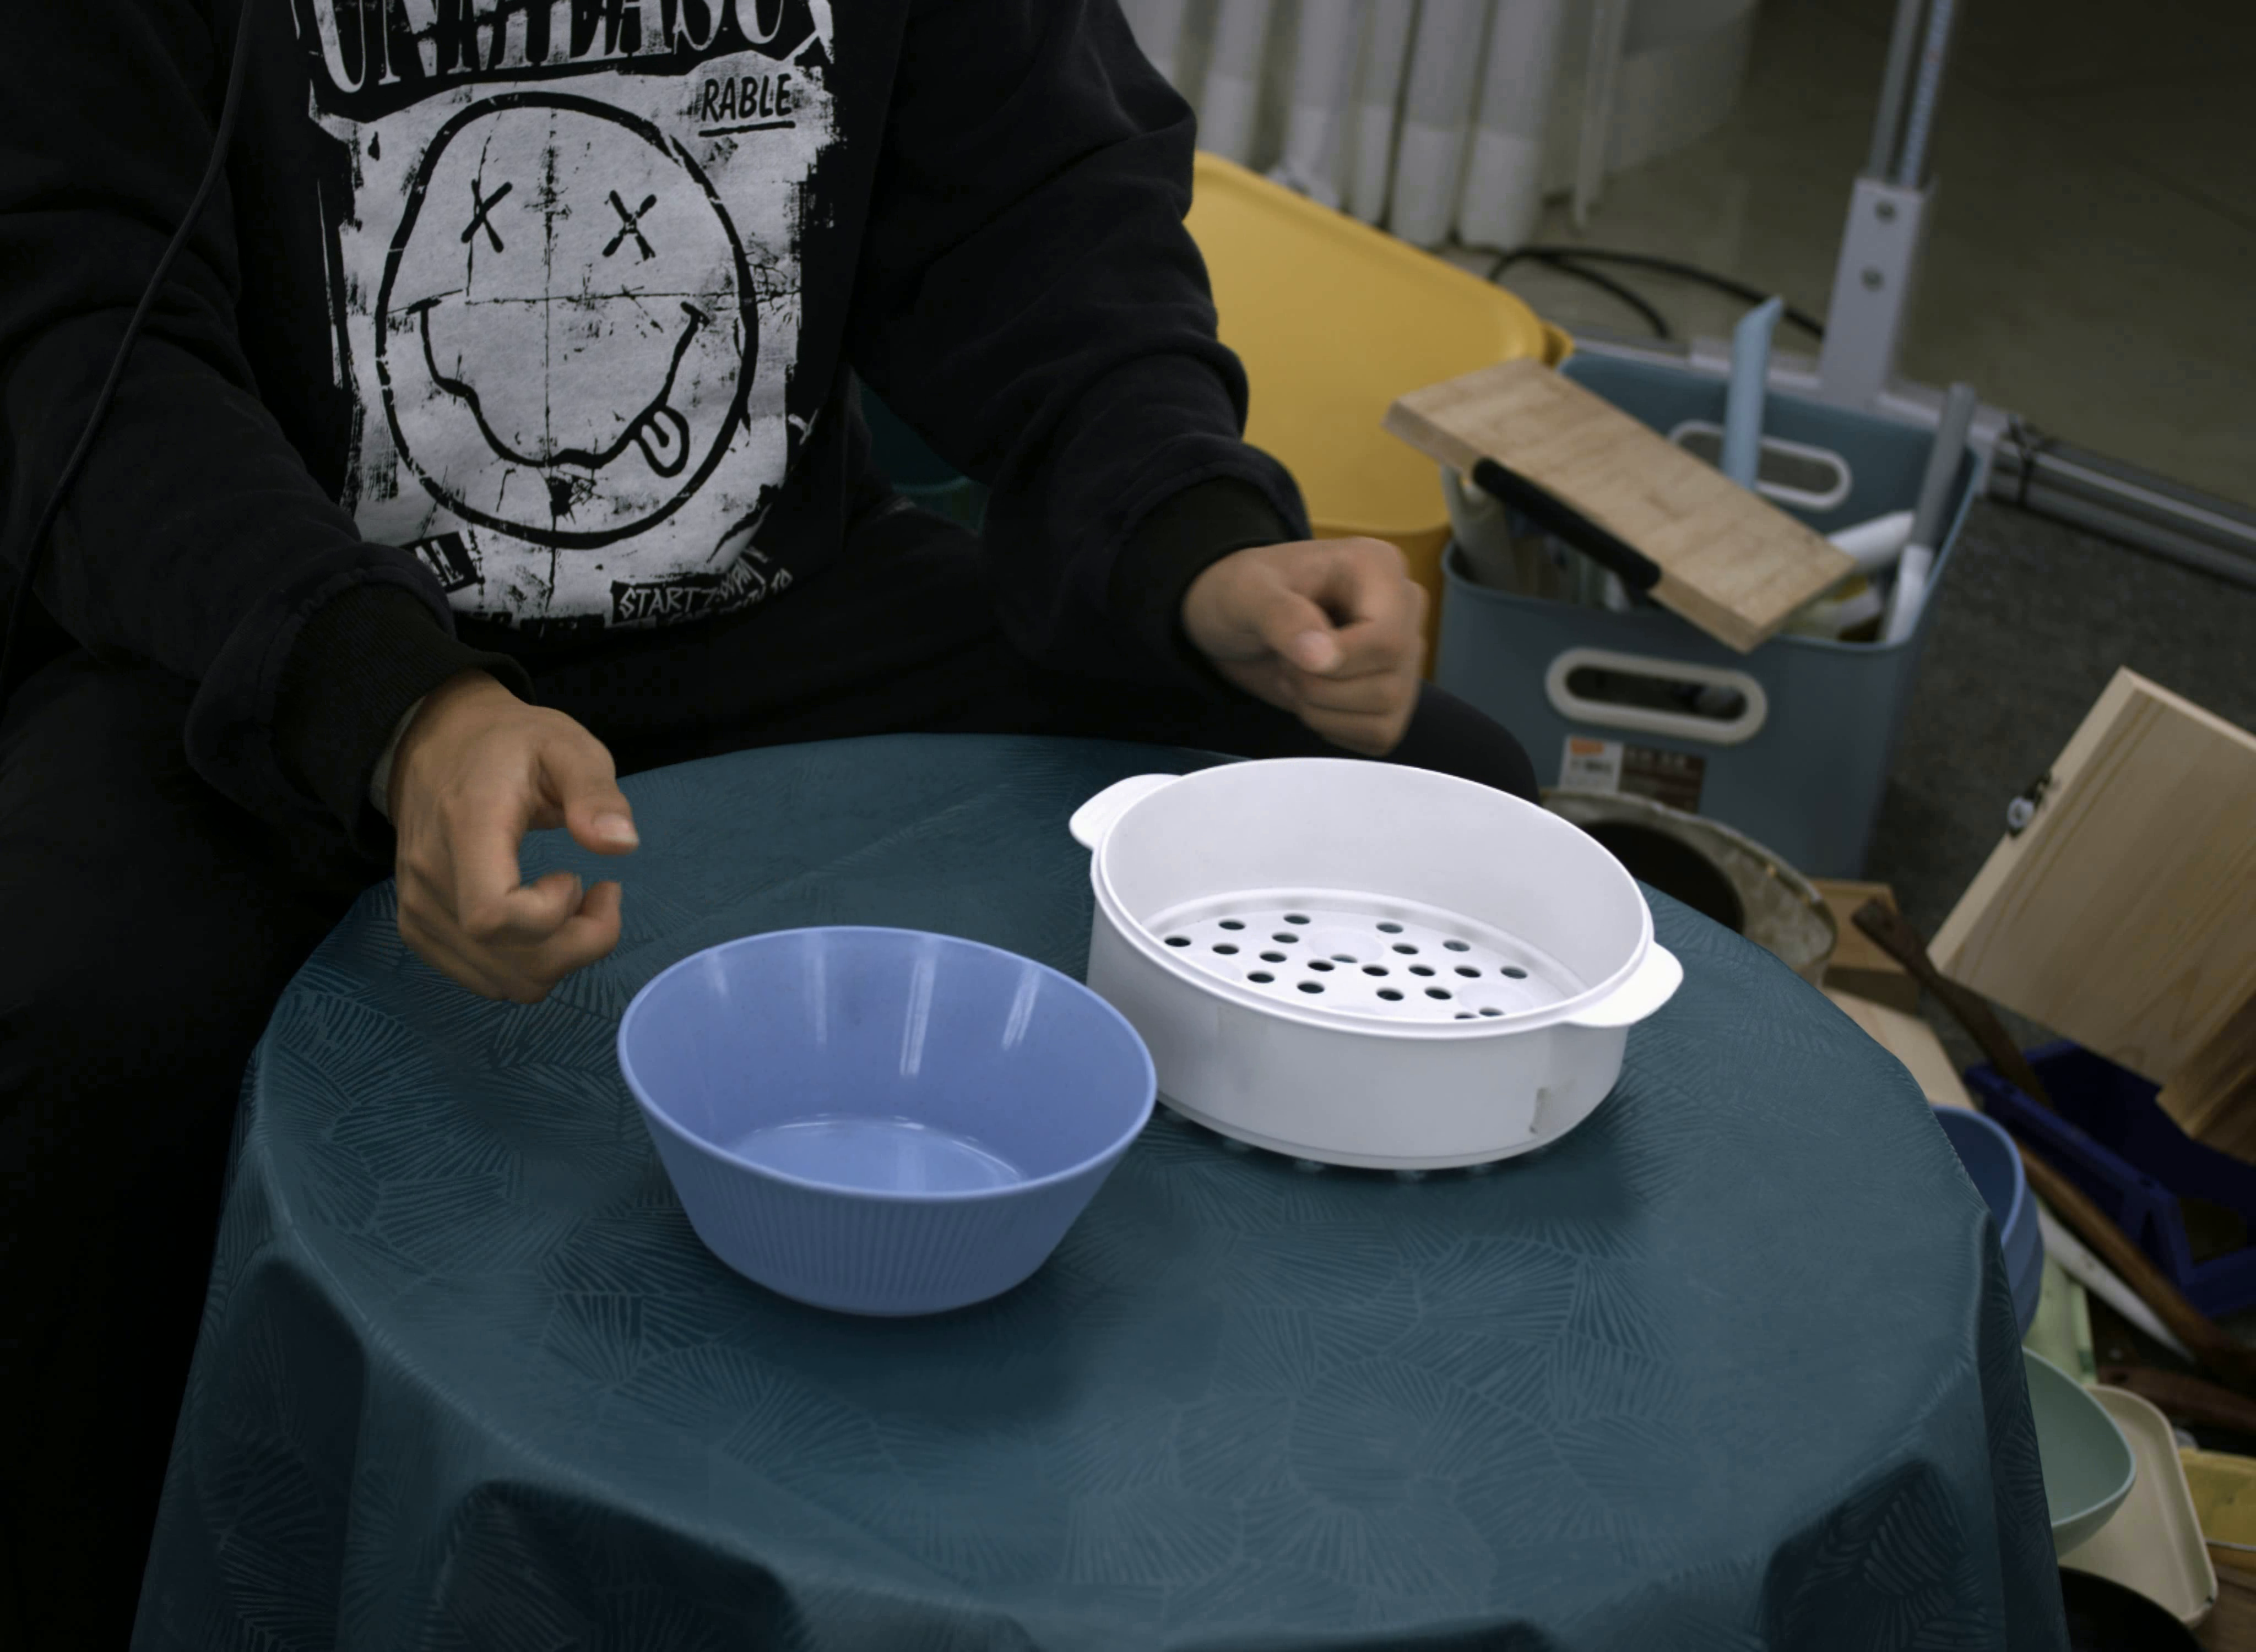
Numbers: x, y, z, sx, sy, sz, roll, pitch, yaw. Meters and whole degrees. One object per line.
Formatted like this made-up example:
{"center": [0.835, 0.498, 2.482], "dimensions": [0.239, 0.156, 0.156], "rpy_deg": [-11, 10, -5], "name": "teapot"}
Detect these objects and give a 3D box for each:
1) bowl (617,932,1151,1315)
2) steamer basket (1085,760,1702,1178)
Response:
{"center": [-0.083, 0.103, 1.743], "dimensions": [0.175, 0.070, 0.177], "rpy_deg": [6, 26, -3], "name": "bowl"}
{"center": [0.089, 0.051, 1.889], "dimensions": [0.231, 0.069, 0.201], "rpy_deg": [21, 30, 23], "name": "steamer basket"}
